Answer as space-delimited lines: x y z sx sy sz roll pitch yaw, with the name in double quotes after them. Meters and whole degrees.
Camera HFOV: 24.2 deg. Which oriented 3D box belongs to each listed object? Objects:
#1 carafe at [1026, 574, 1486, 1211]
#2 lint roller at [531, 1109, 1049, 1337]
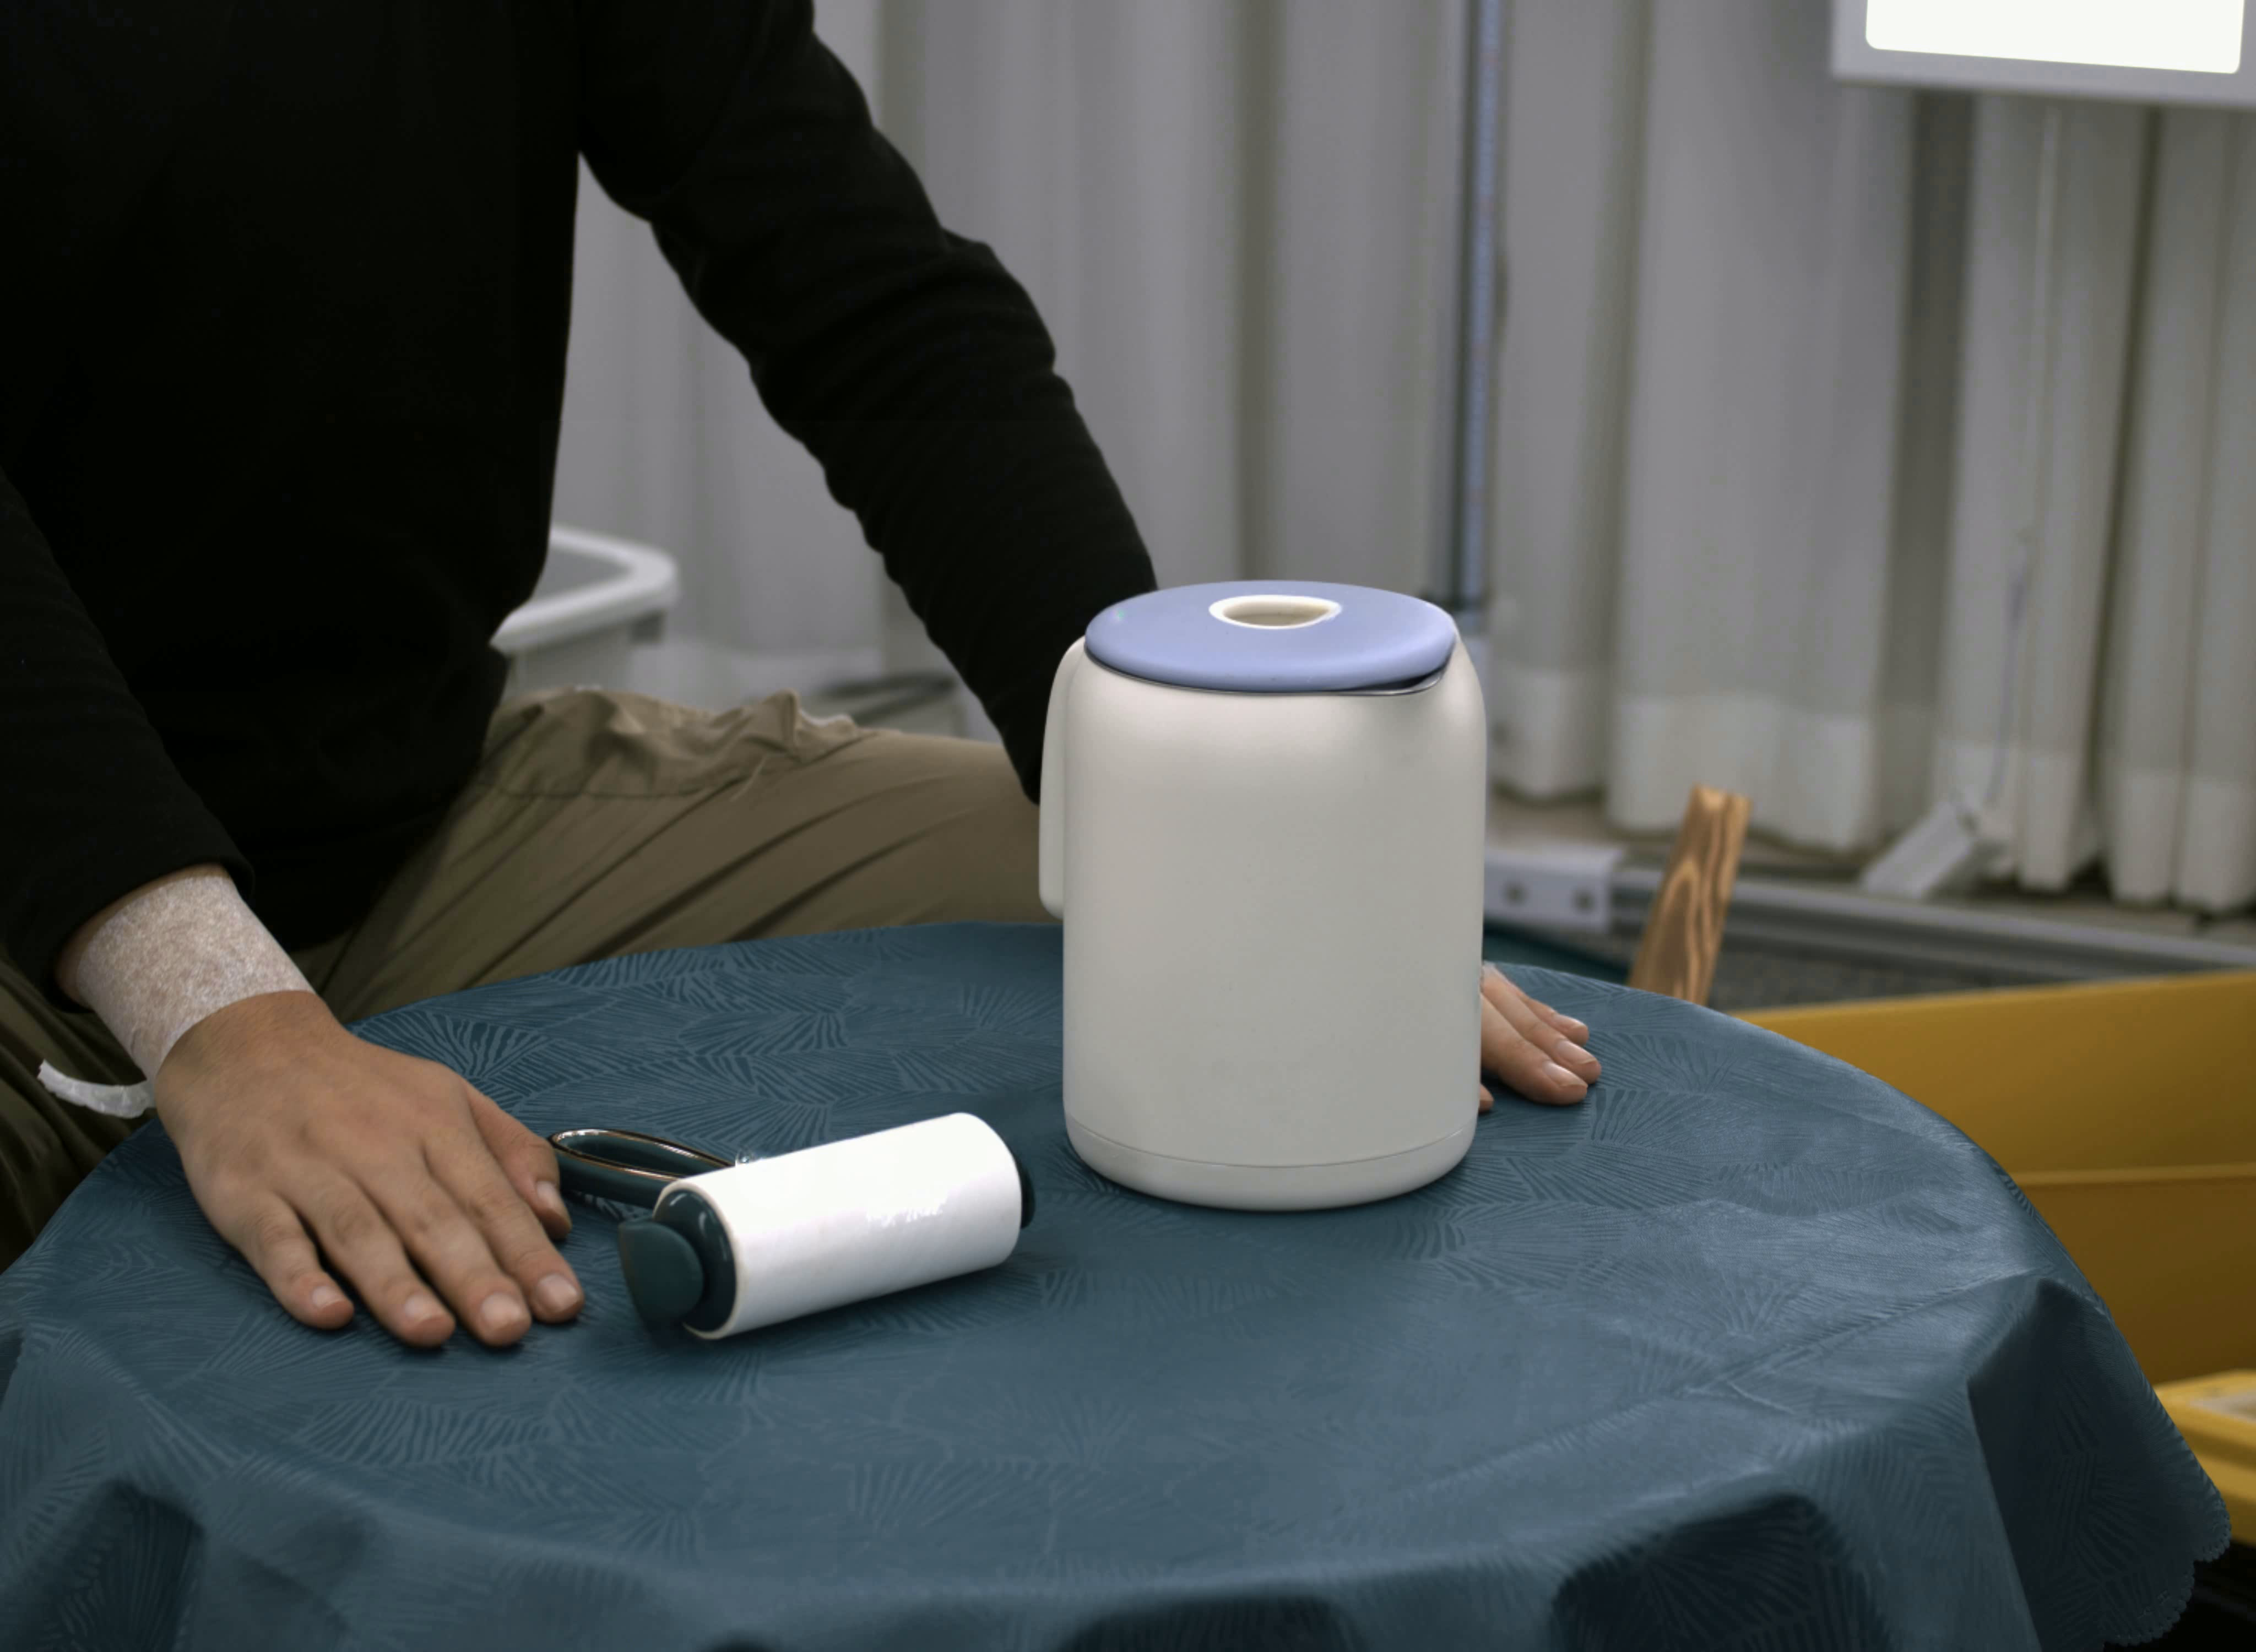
0.030 0.015 1.652 0.133 0.184 0.188 -11 18 -37 "carafe"
-0.126 0.104 1.571 0.135 0.048 0.178 -12 16 -36 "lint roller"
